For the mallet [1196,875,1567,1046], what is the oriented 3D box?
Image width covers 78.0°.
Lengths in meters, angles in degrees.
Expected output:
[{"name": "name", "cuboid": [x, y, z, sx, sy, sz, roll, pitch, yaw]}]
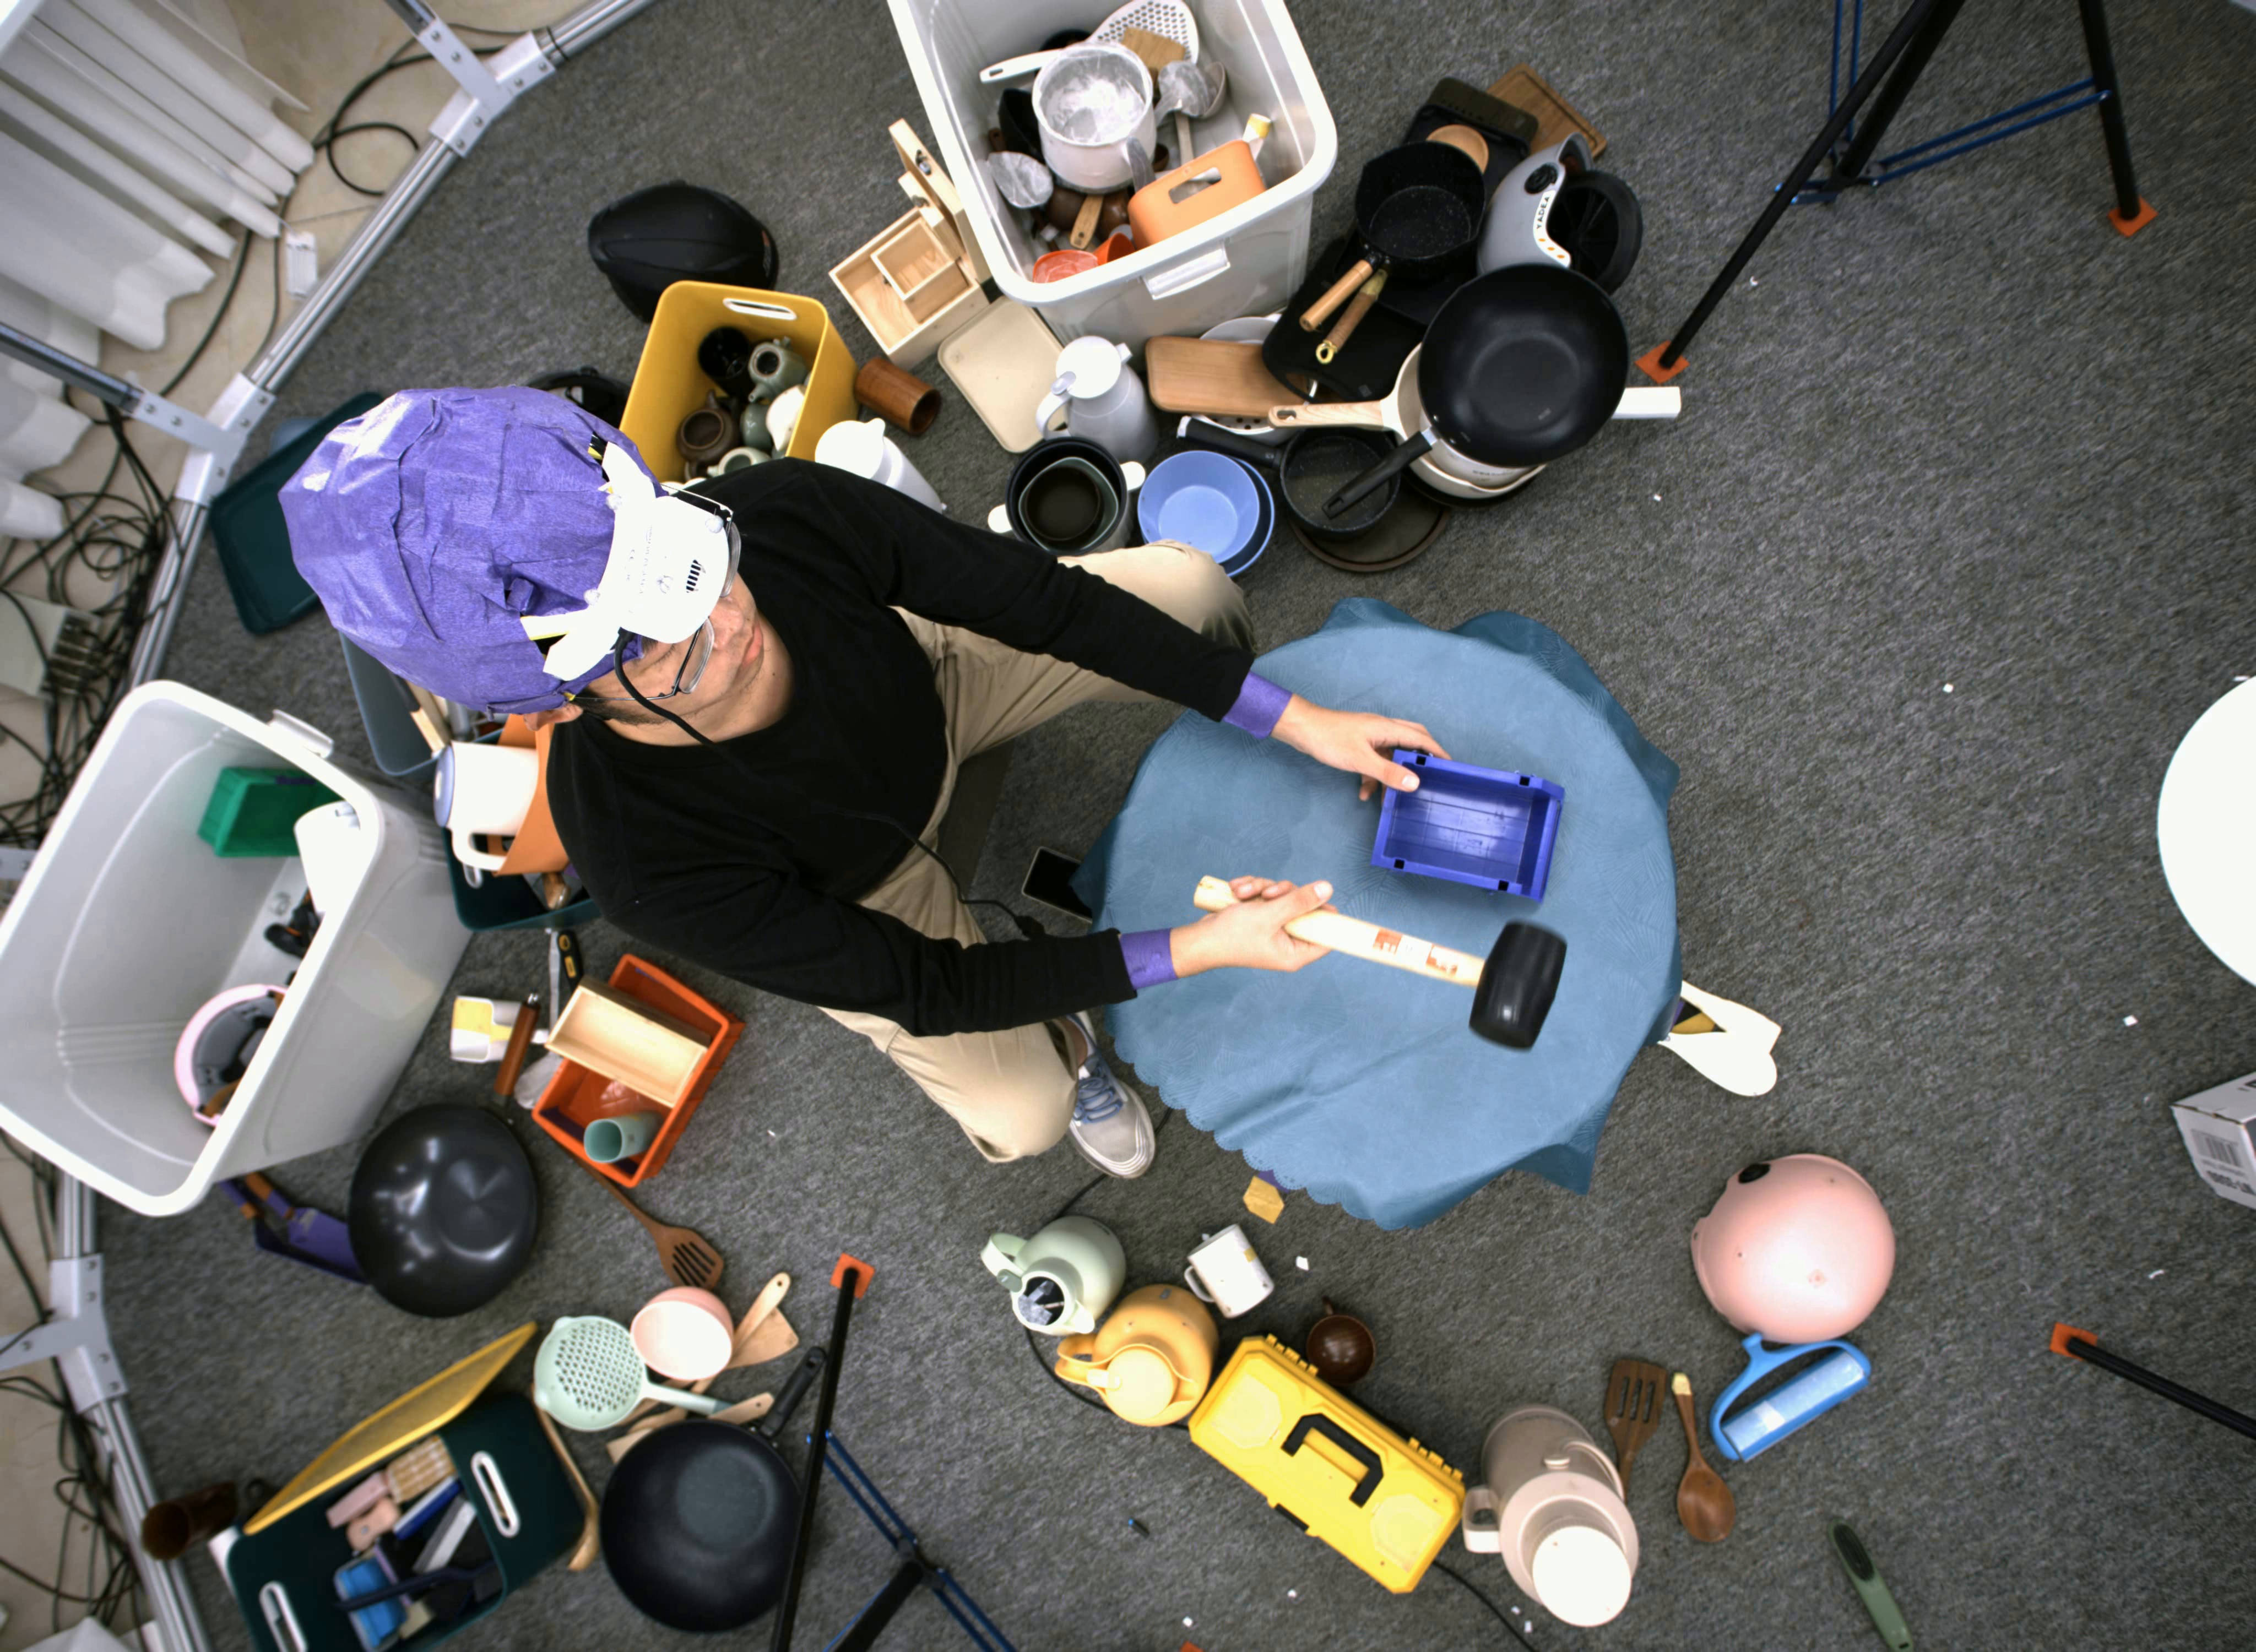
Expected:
[{"name": "mallet", "cuboid": [0.211, 0.095, 1.227, 0.339, 0.065, 0.100, 17, 65, 26]}]

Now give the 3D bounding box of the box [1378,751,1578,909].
[{"name": "box", "cuboid": [0.359, 0.001, 1.406, 0.179, 0.082, 0.124, 13, 89, 15]}]
